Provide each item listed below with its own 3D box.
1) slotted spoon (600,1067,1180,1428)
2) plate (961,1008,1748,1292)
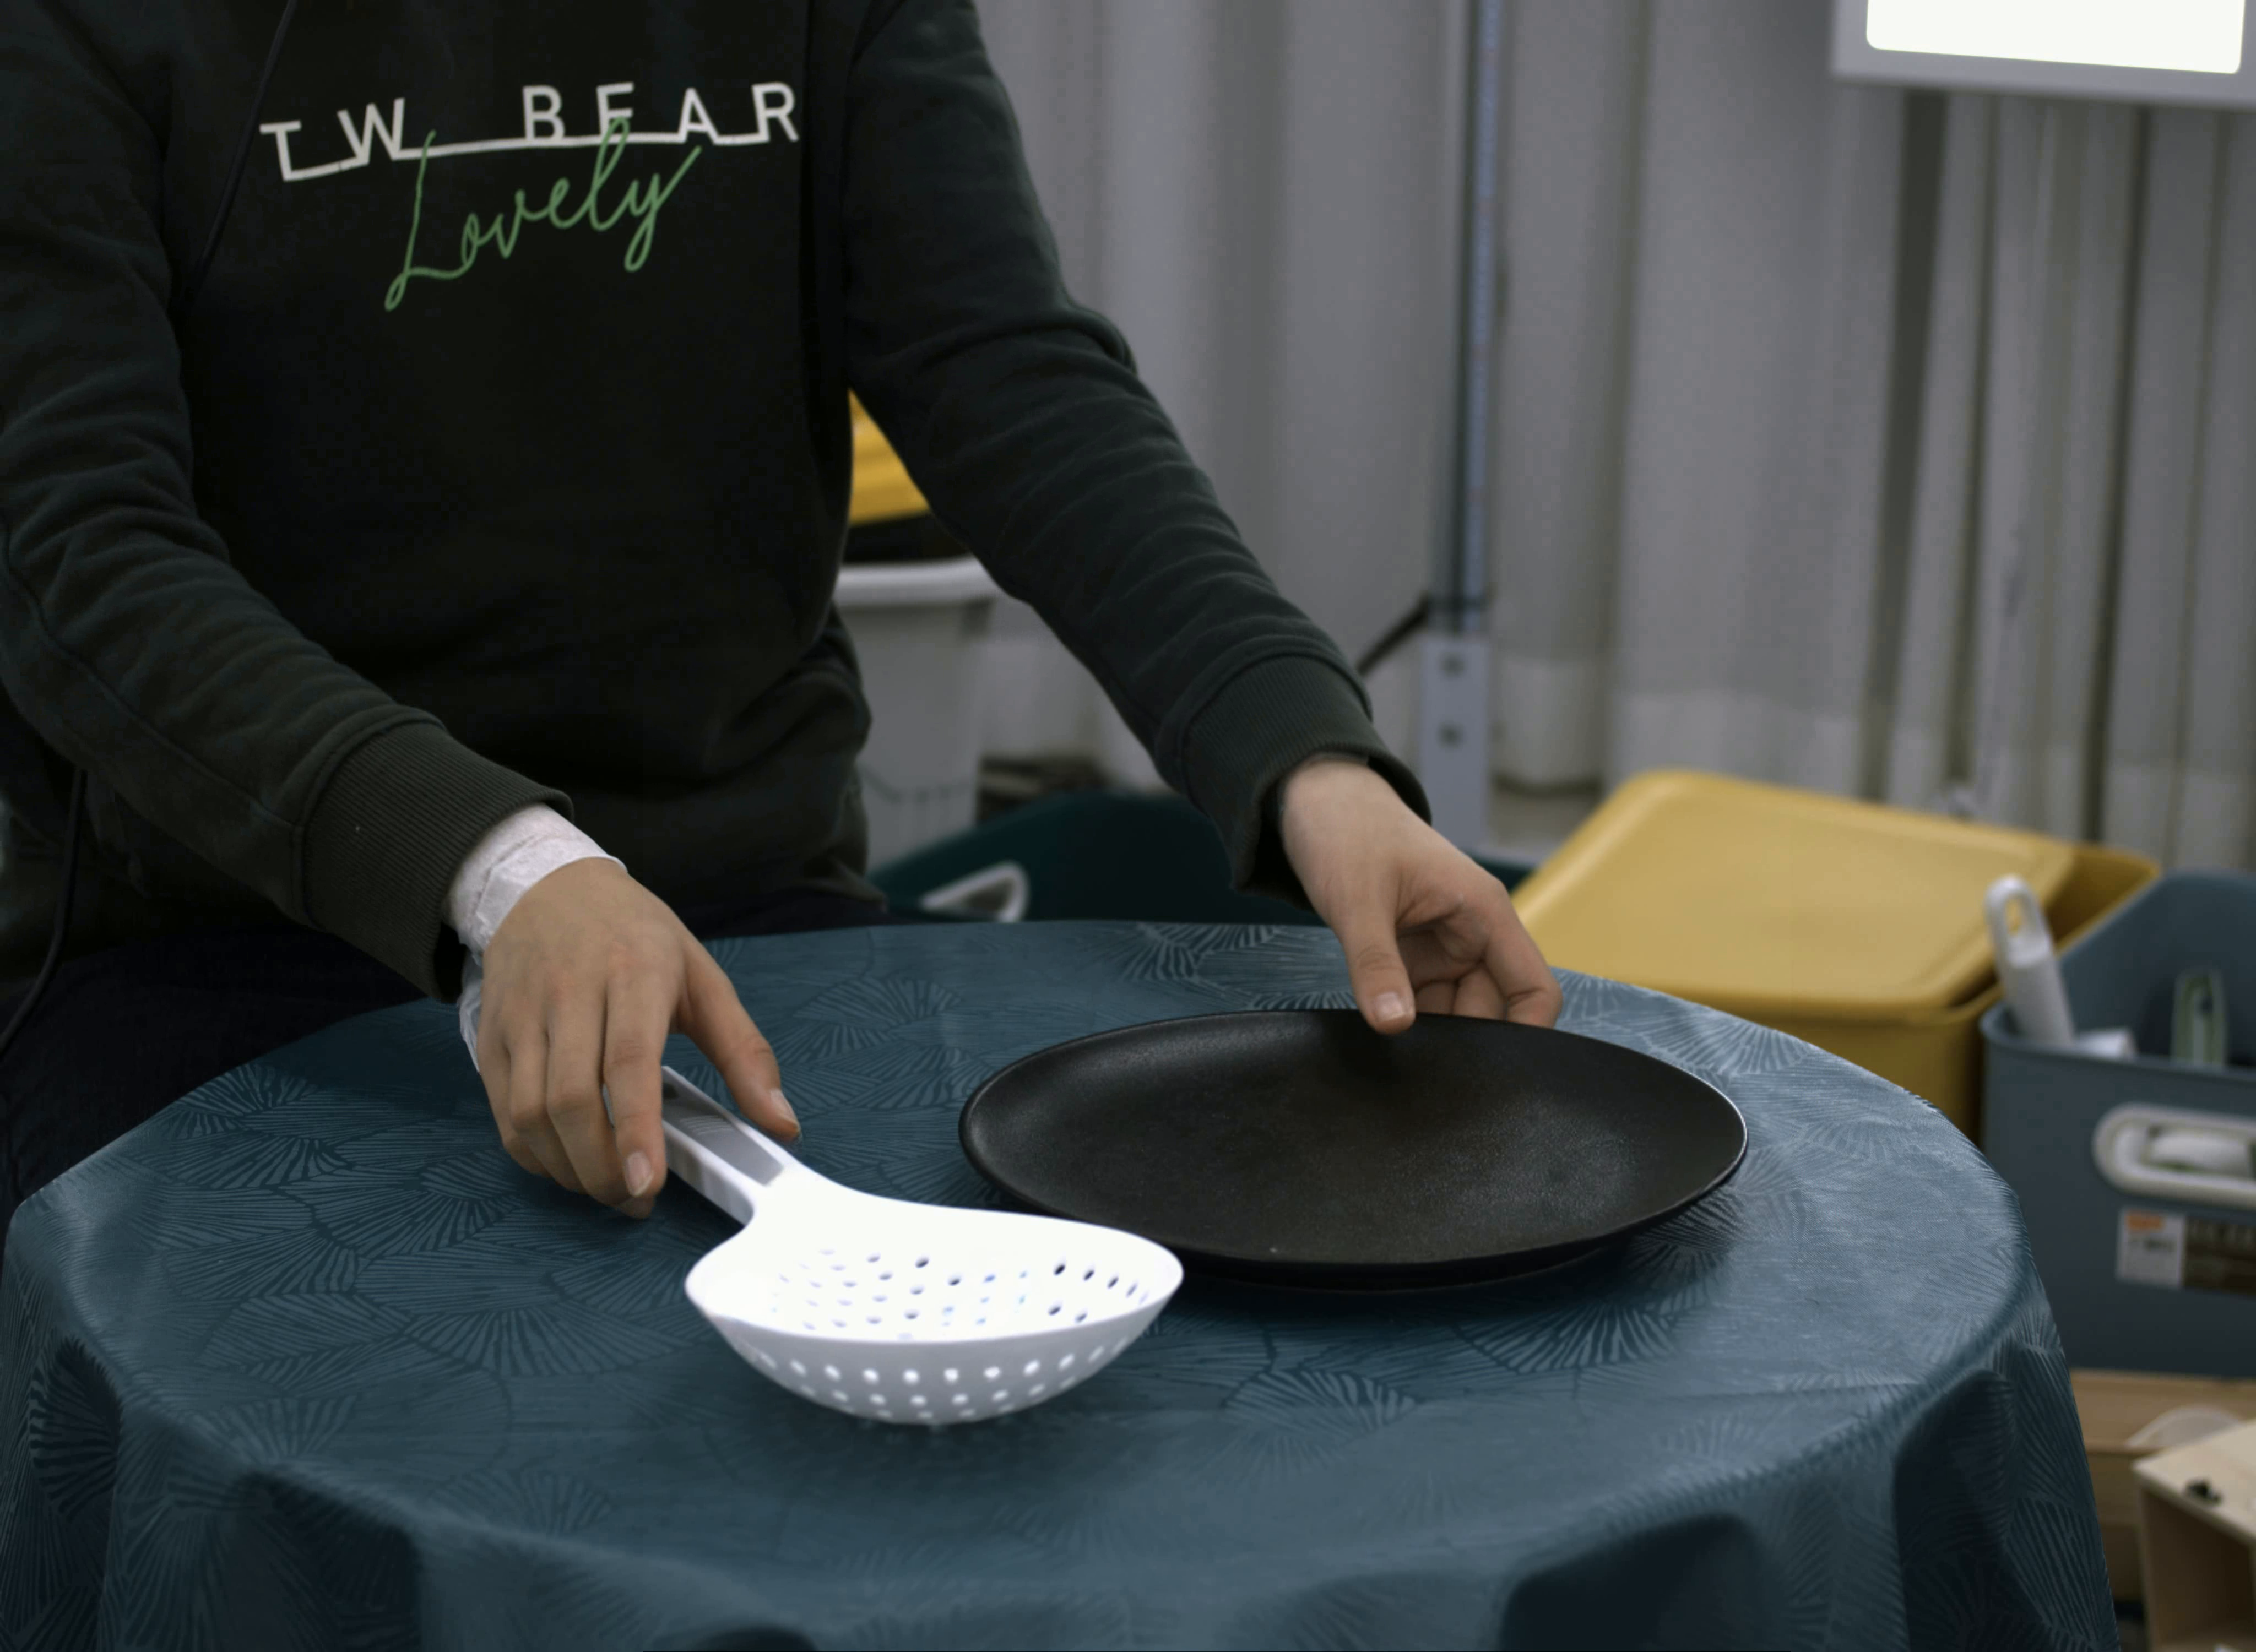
[{"bbox_3d":[-0.094,0.113,1.537,0.136,0.046,0.346,-4,15,-22],"label":"slotted spoon"},{"bbox_3d":[0.069,0.102,1.624,0.243,0.023,0.243,1,16,0],"label":"plate"}]
